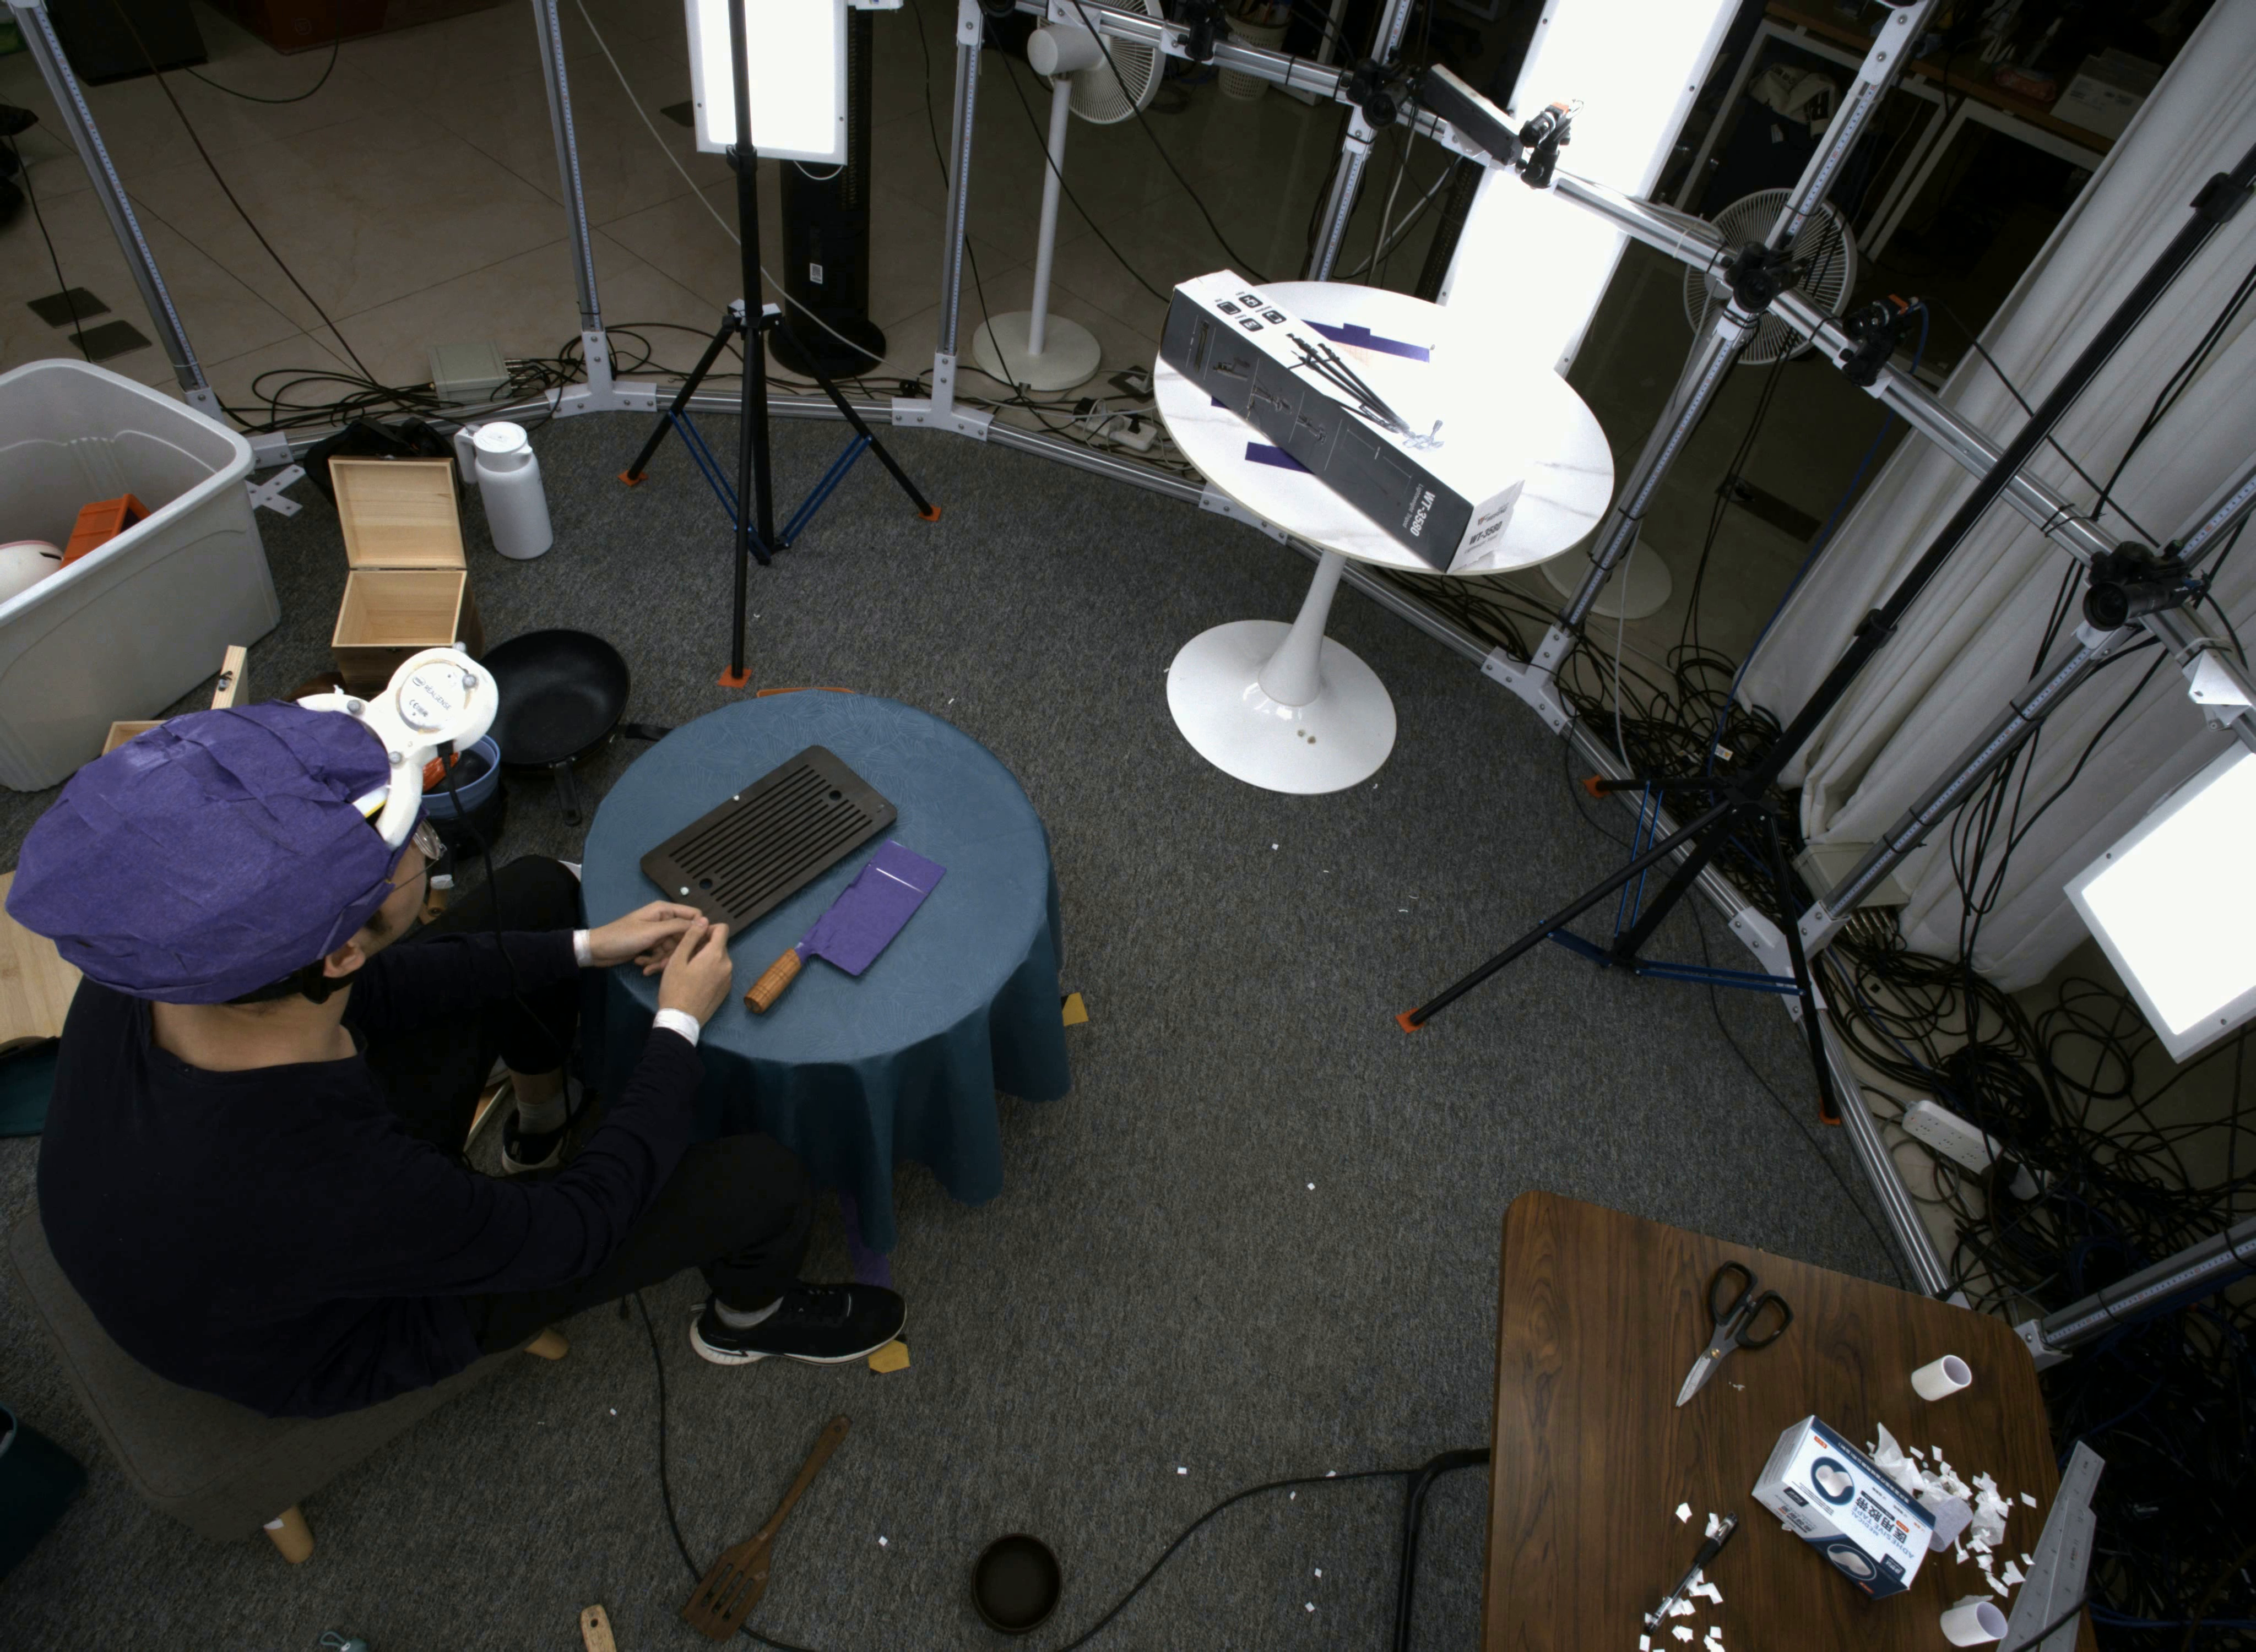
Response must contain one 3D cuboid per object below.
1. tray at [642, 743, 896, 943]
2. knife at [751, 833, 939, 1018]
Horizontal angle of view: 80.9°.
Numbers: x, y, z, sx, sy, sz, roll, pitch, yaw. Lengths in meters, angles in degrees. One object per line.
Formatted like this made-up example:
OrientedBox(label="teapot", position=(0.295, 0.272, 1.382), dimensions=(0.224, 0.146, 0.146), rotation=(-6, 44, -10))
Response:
OrientedBox(label="tray", position=(-0.468, 0.016, 1.700), dimensions=(0.166, 0.019, 0.306), rotation=(39, 55, 15))
OrientedBox(label="knife", position=(-0.348, 0.129, 1.642), dimensions=(0.102, 0.033, 0.313), rotation=(27, 52, 7))
